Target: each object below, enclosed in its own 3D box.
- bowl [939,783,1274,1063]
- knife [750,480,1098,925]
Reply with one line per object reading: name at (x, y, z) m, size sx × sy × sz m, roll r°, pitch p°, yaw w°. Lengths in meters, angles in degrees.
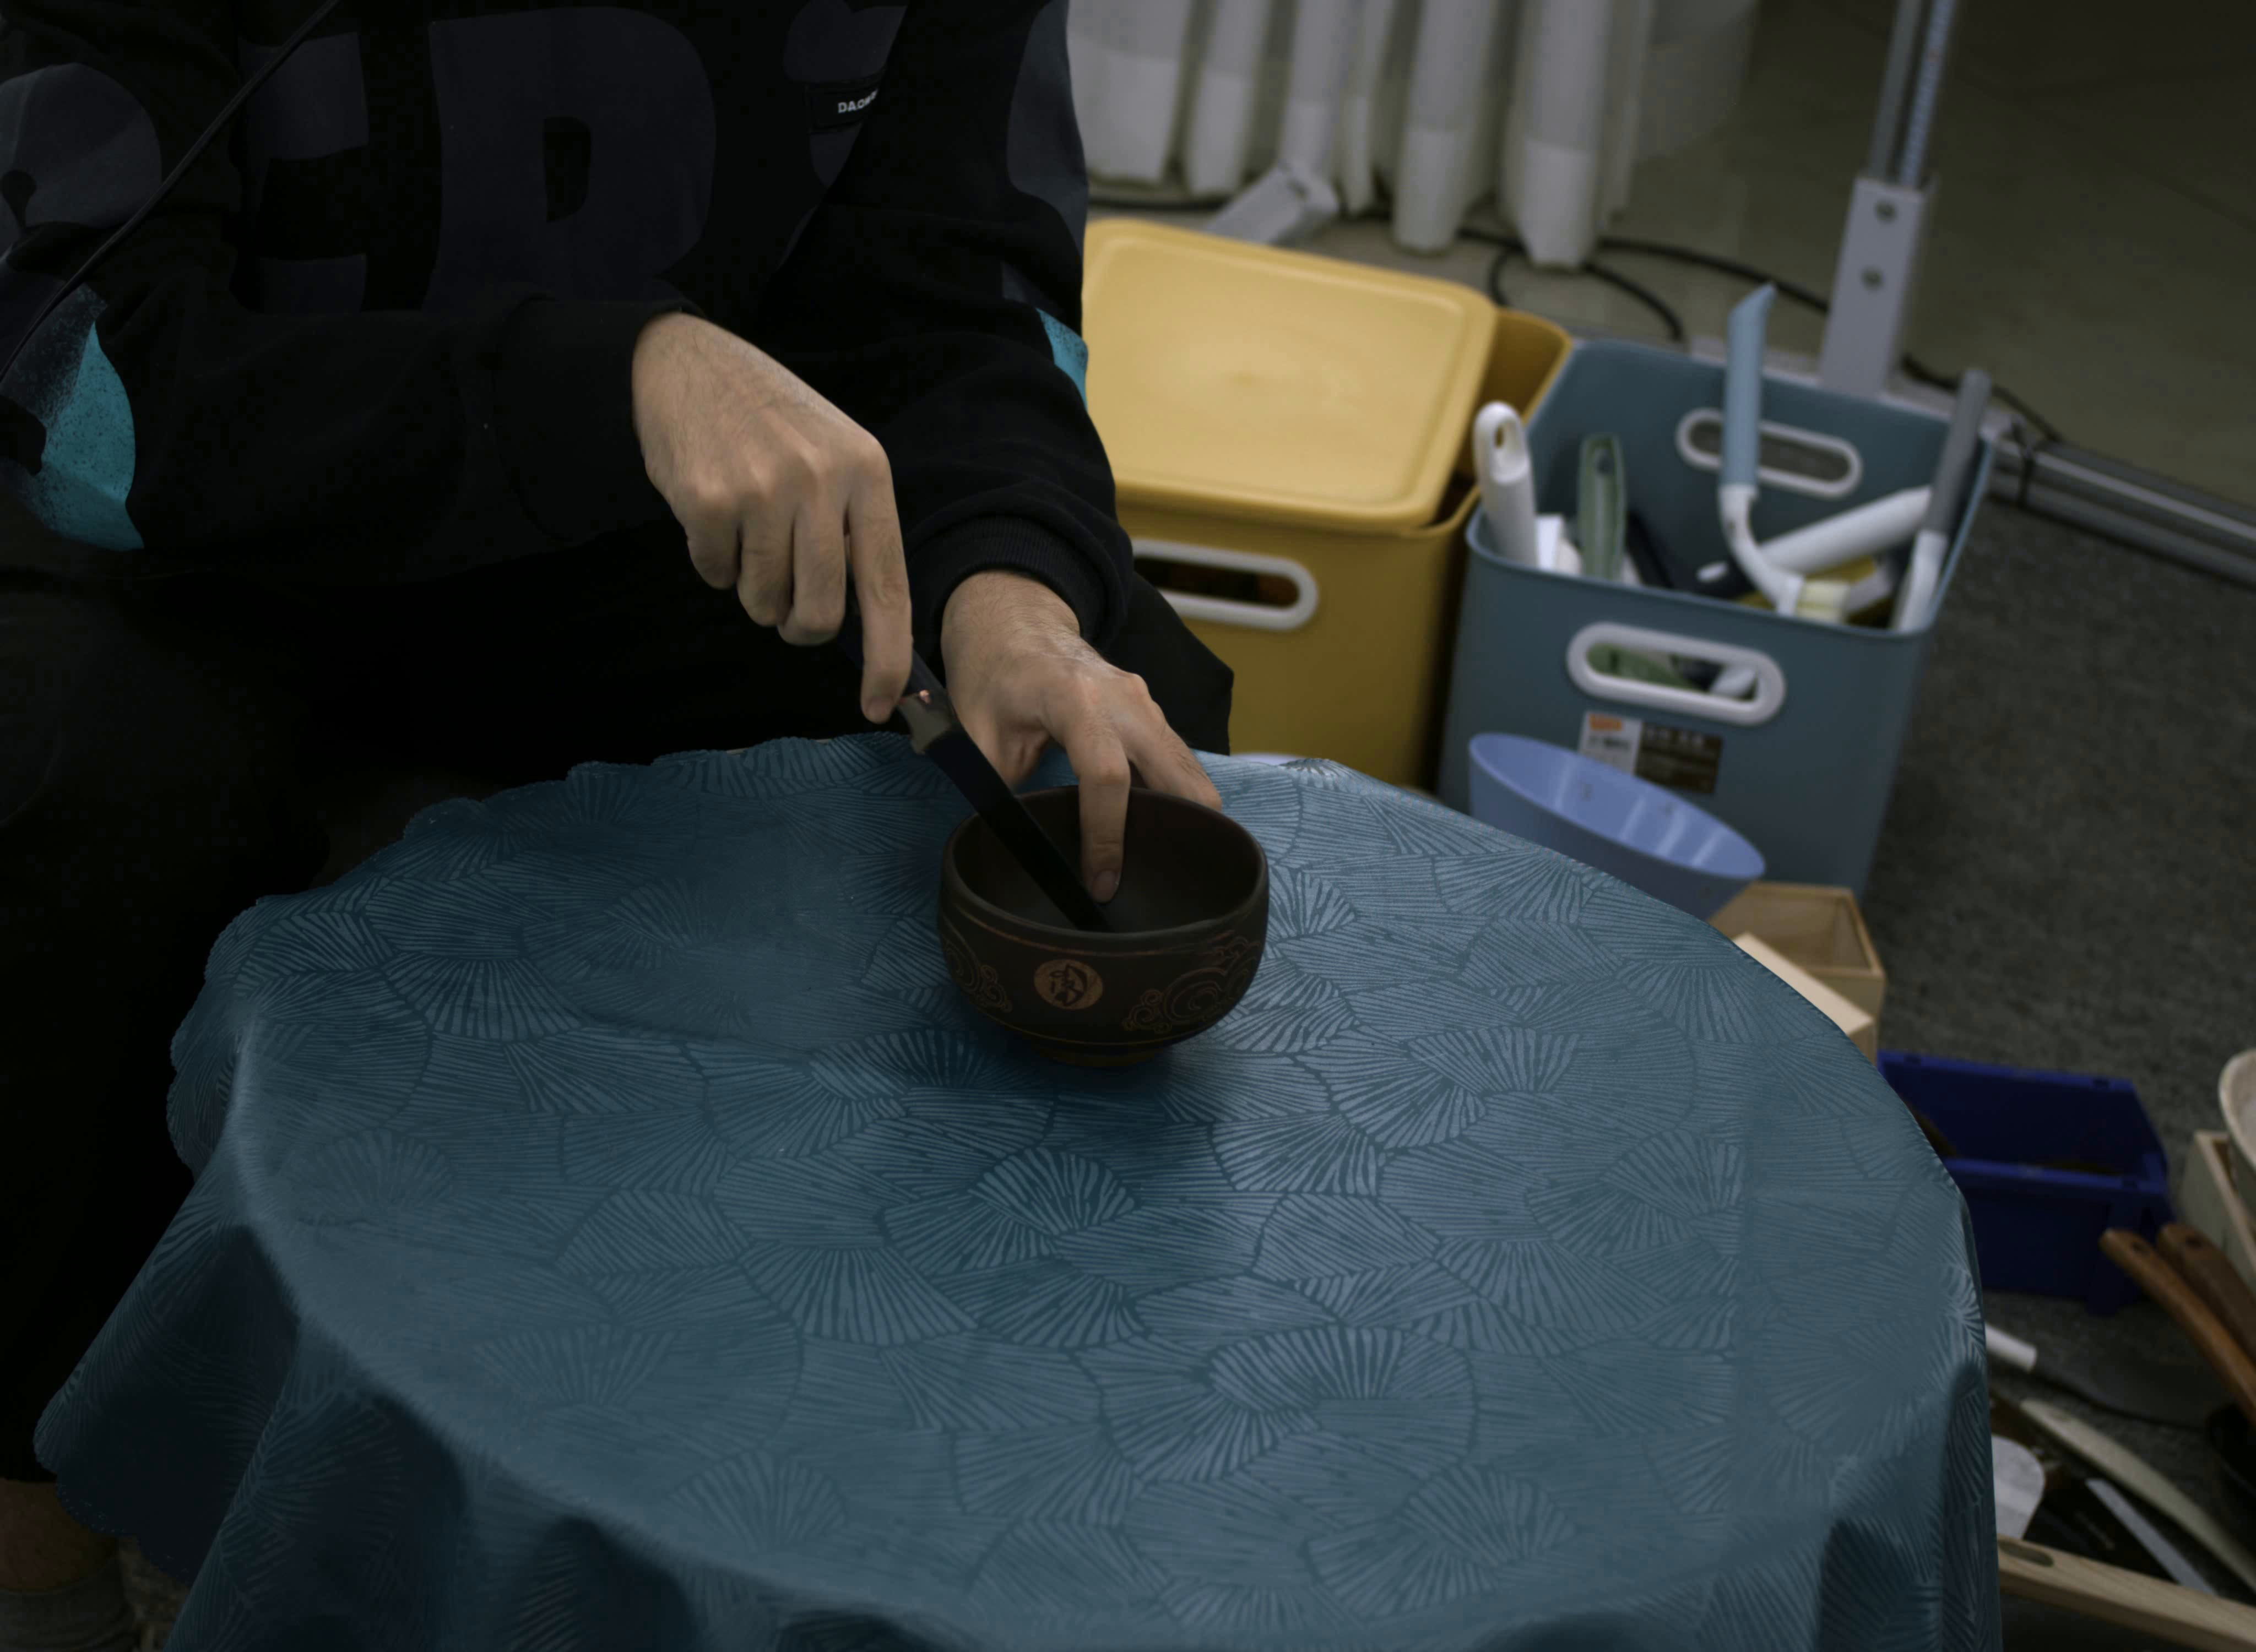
bowl at (-0.009, 0.040, 1.879) m, size 0.117 × 0.069 × 0.119 m, roll 4°, pitch 25°, yaw -2°
knife at (-0.063, -0.028, 1.882) m, size 0.225 × 0.026 × 0.017 m, roll 53°, pitch 36°, yaw -2°
